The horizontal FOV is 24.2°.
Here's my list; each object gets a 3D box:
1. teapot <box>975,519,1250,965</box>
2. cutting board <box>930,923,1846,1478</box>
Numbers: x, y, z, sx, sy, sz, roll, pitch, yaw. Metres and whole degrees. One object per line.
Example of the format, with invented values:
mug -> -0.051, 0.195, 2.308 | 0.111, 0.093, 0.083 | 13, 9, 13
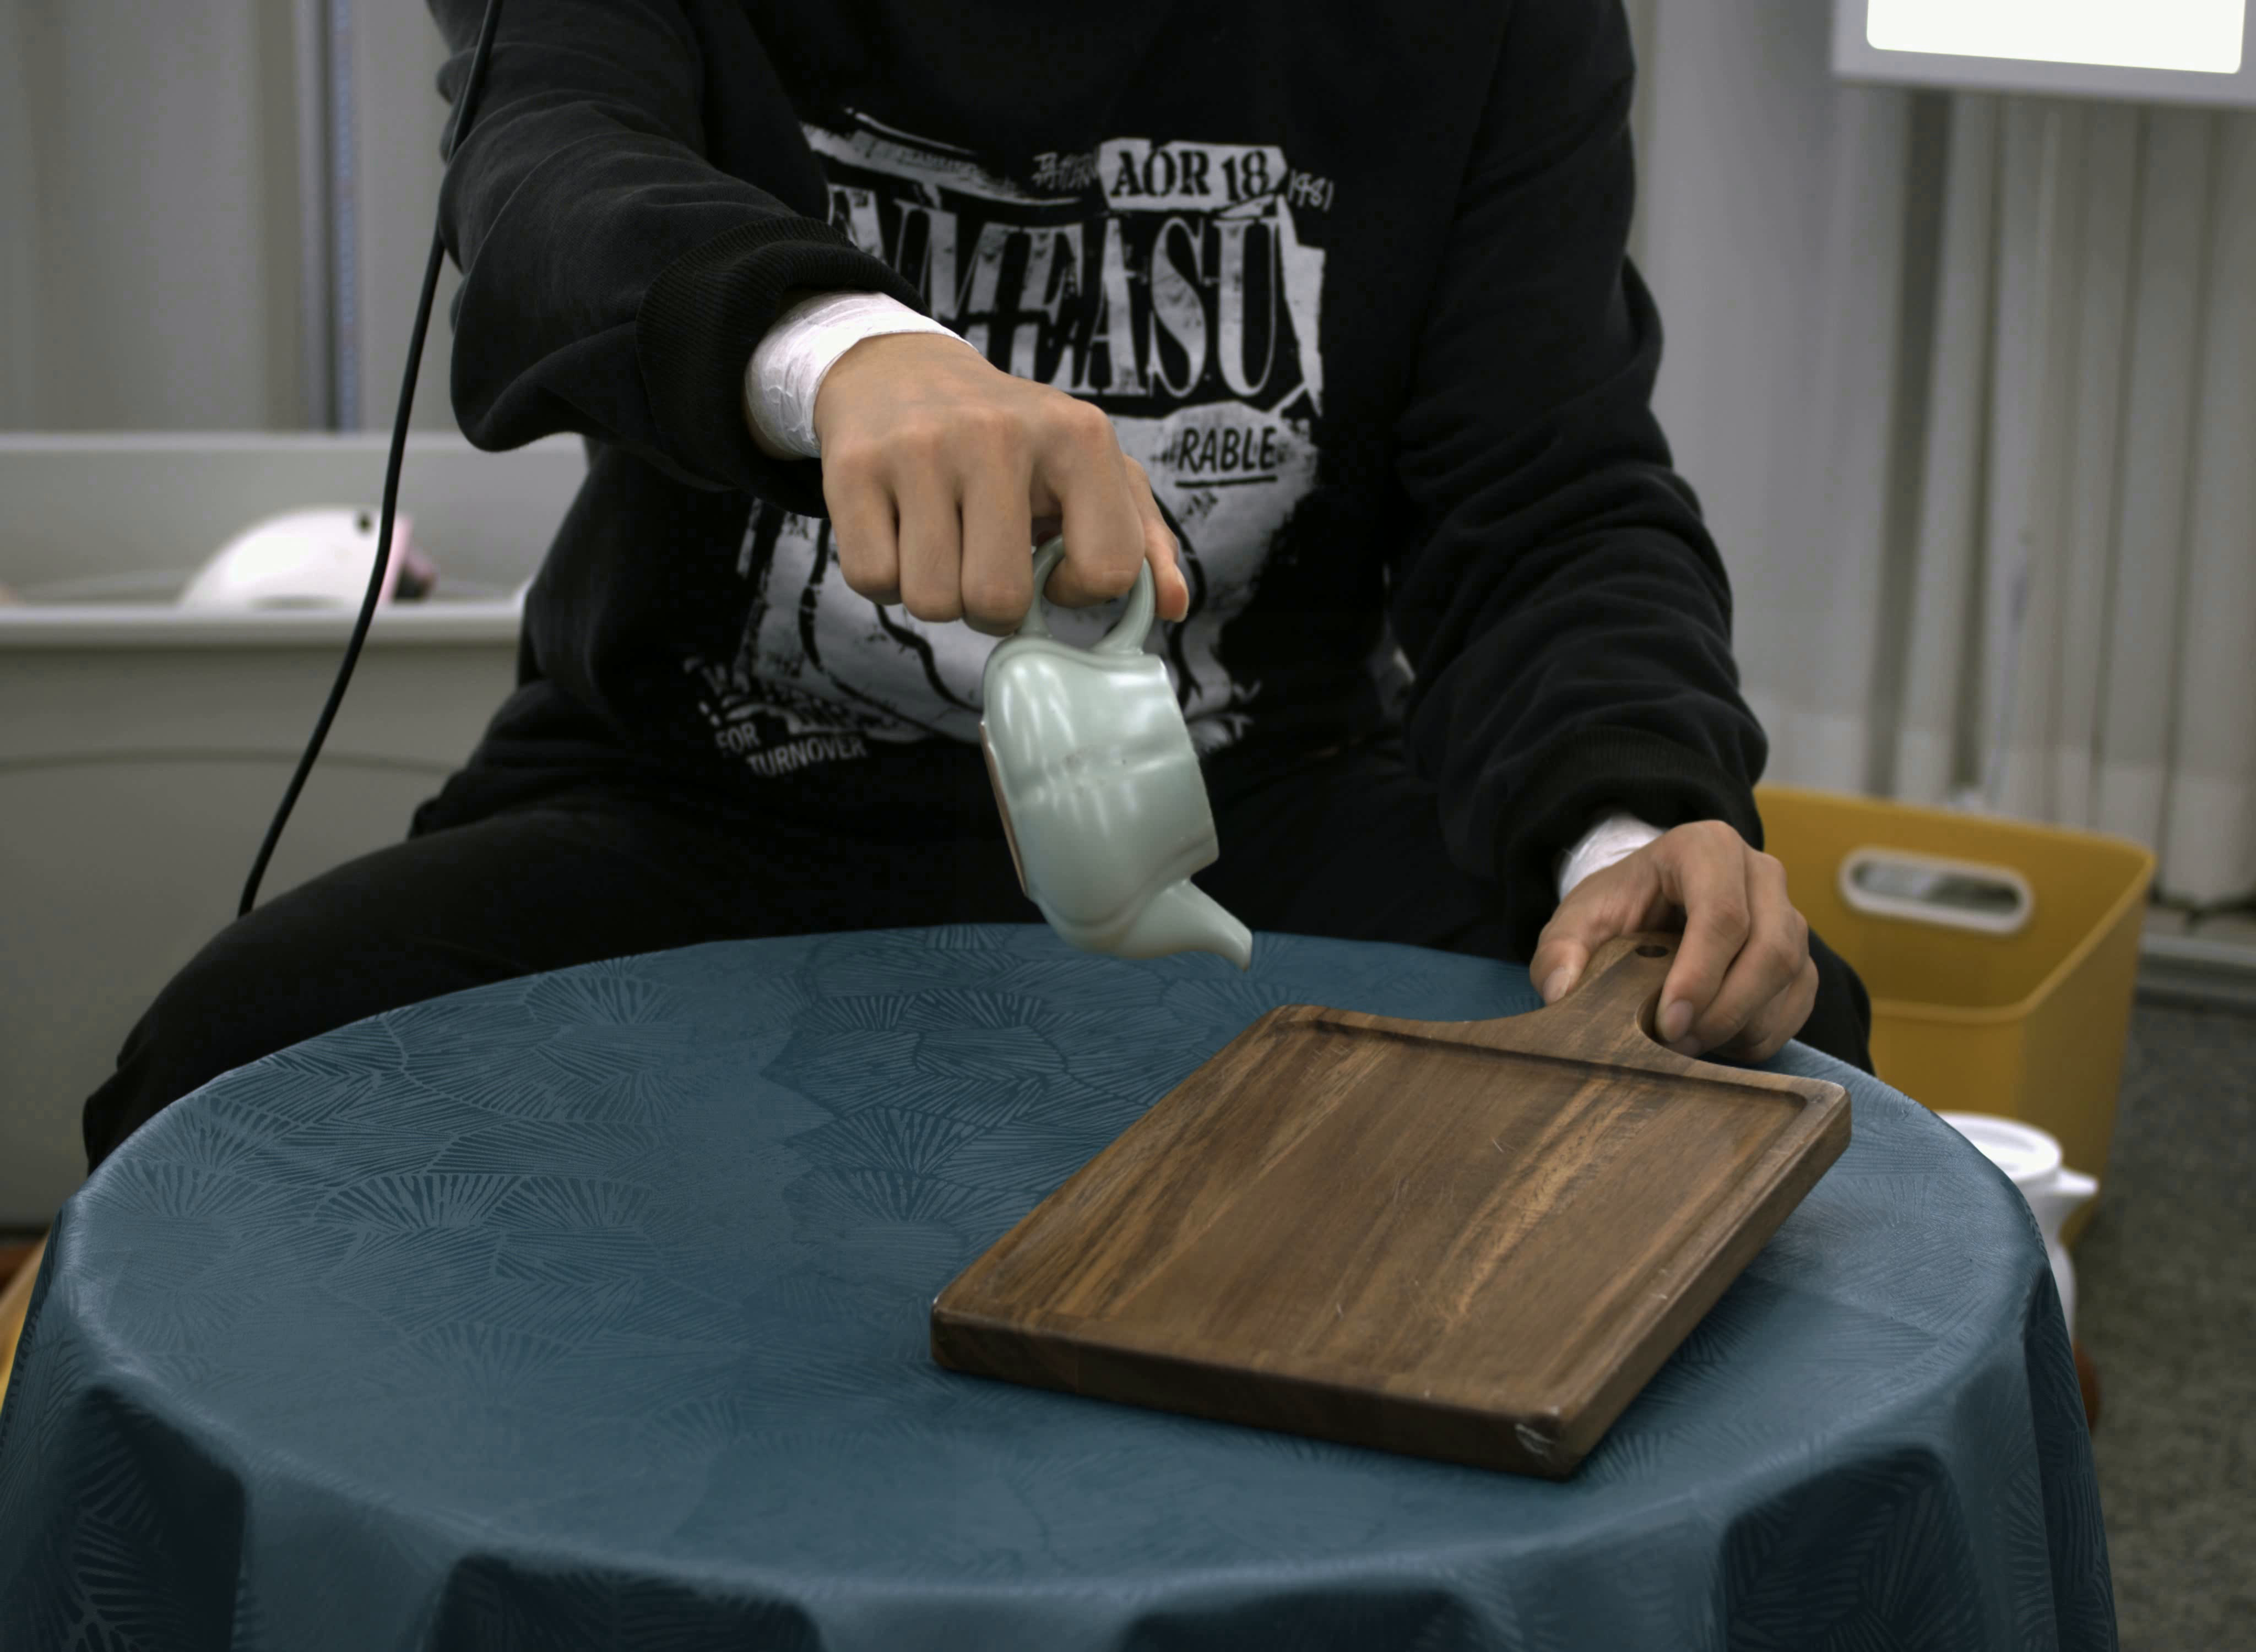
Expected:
teapot -> -0.010, -0.019, 1.515 | 0.061, 0.137, 0.096 | -16, -1, -3
cutting board -> 0.102, 0.098, 1.581 | 0.199, 0.023, 0.352 | 8, 22, 23
